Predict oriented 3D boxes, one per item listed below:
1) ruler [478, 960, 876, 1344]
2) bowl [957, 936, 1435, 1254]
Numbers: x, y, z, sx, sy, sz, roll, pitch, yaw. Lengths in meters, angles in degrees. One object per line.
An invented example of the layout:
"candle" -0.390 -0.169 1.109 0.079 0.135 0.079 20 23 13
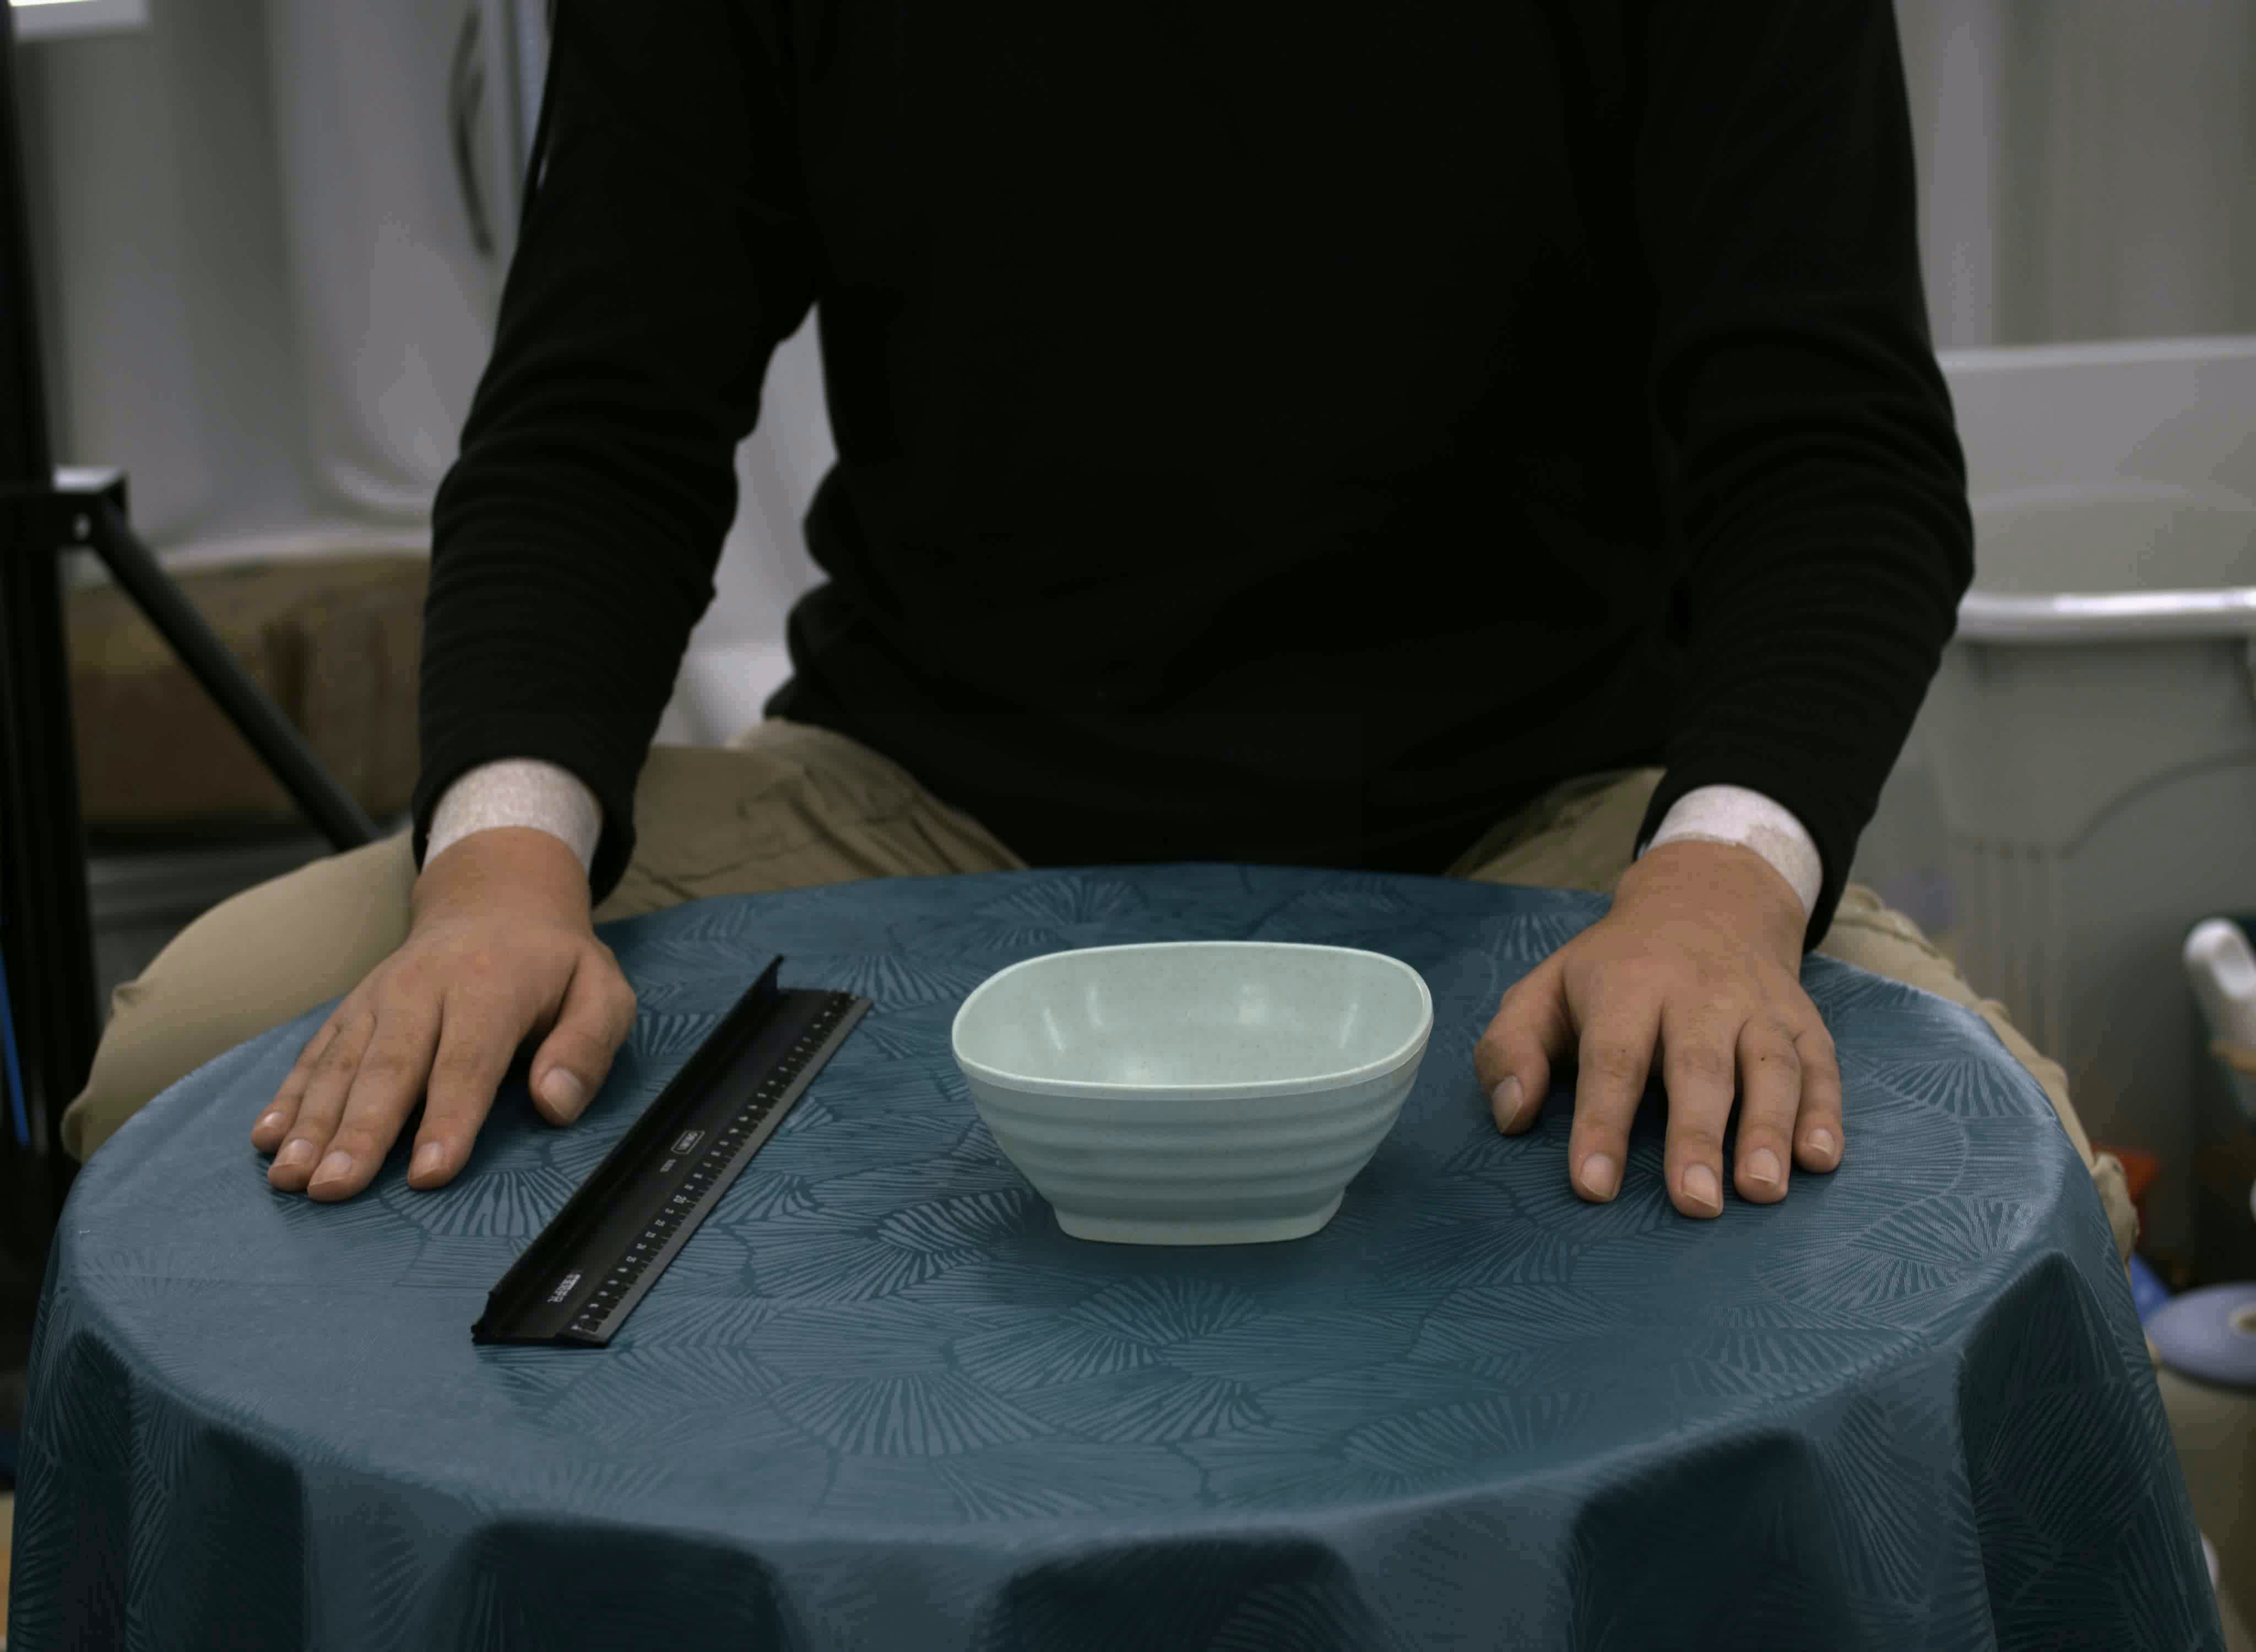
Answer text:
"ruler" -0.131 0.093 1.603 0.039 0.017 0.311 4 17 11
"bowl" 0.021 0.082 1.545 0.151 0.058 0.152 -4 17 0
